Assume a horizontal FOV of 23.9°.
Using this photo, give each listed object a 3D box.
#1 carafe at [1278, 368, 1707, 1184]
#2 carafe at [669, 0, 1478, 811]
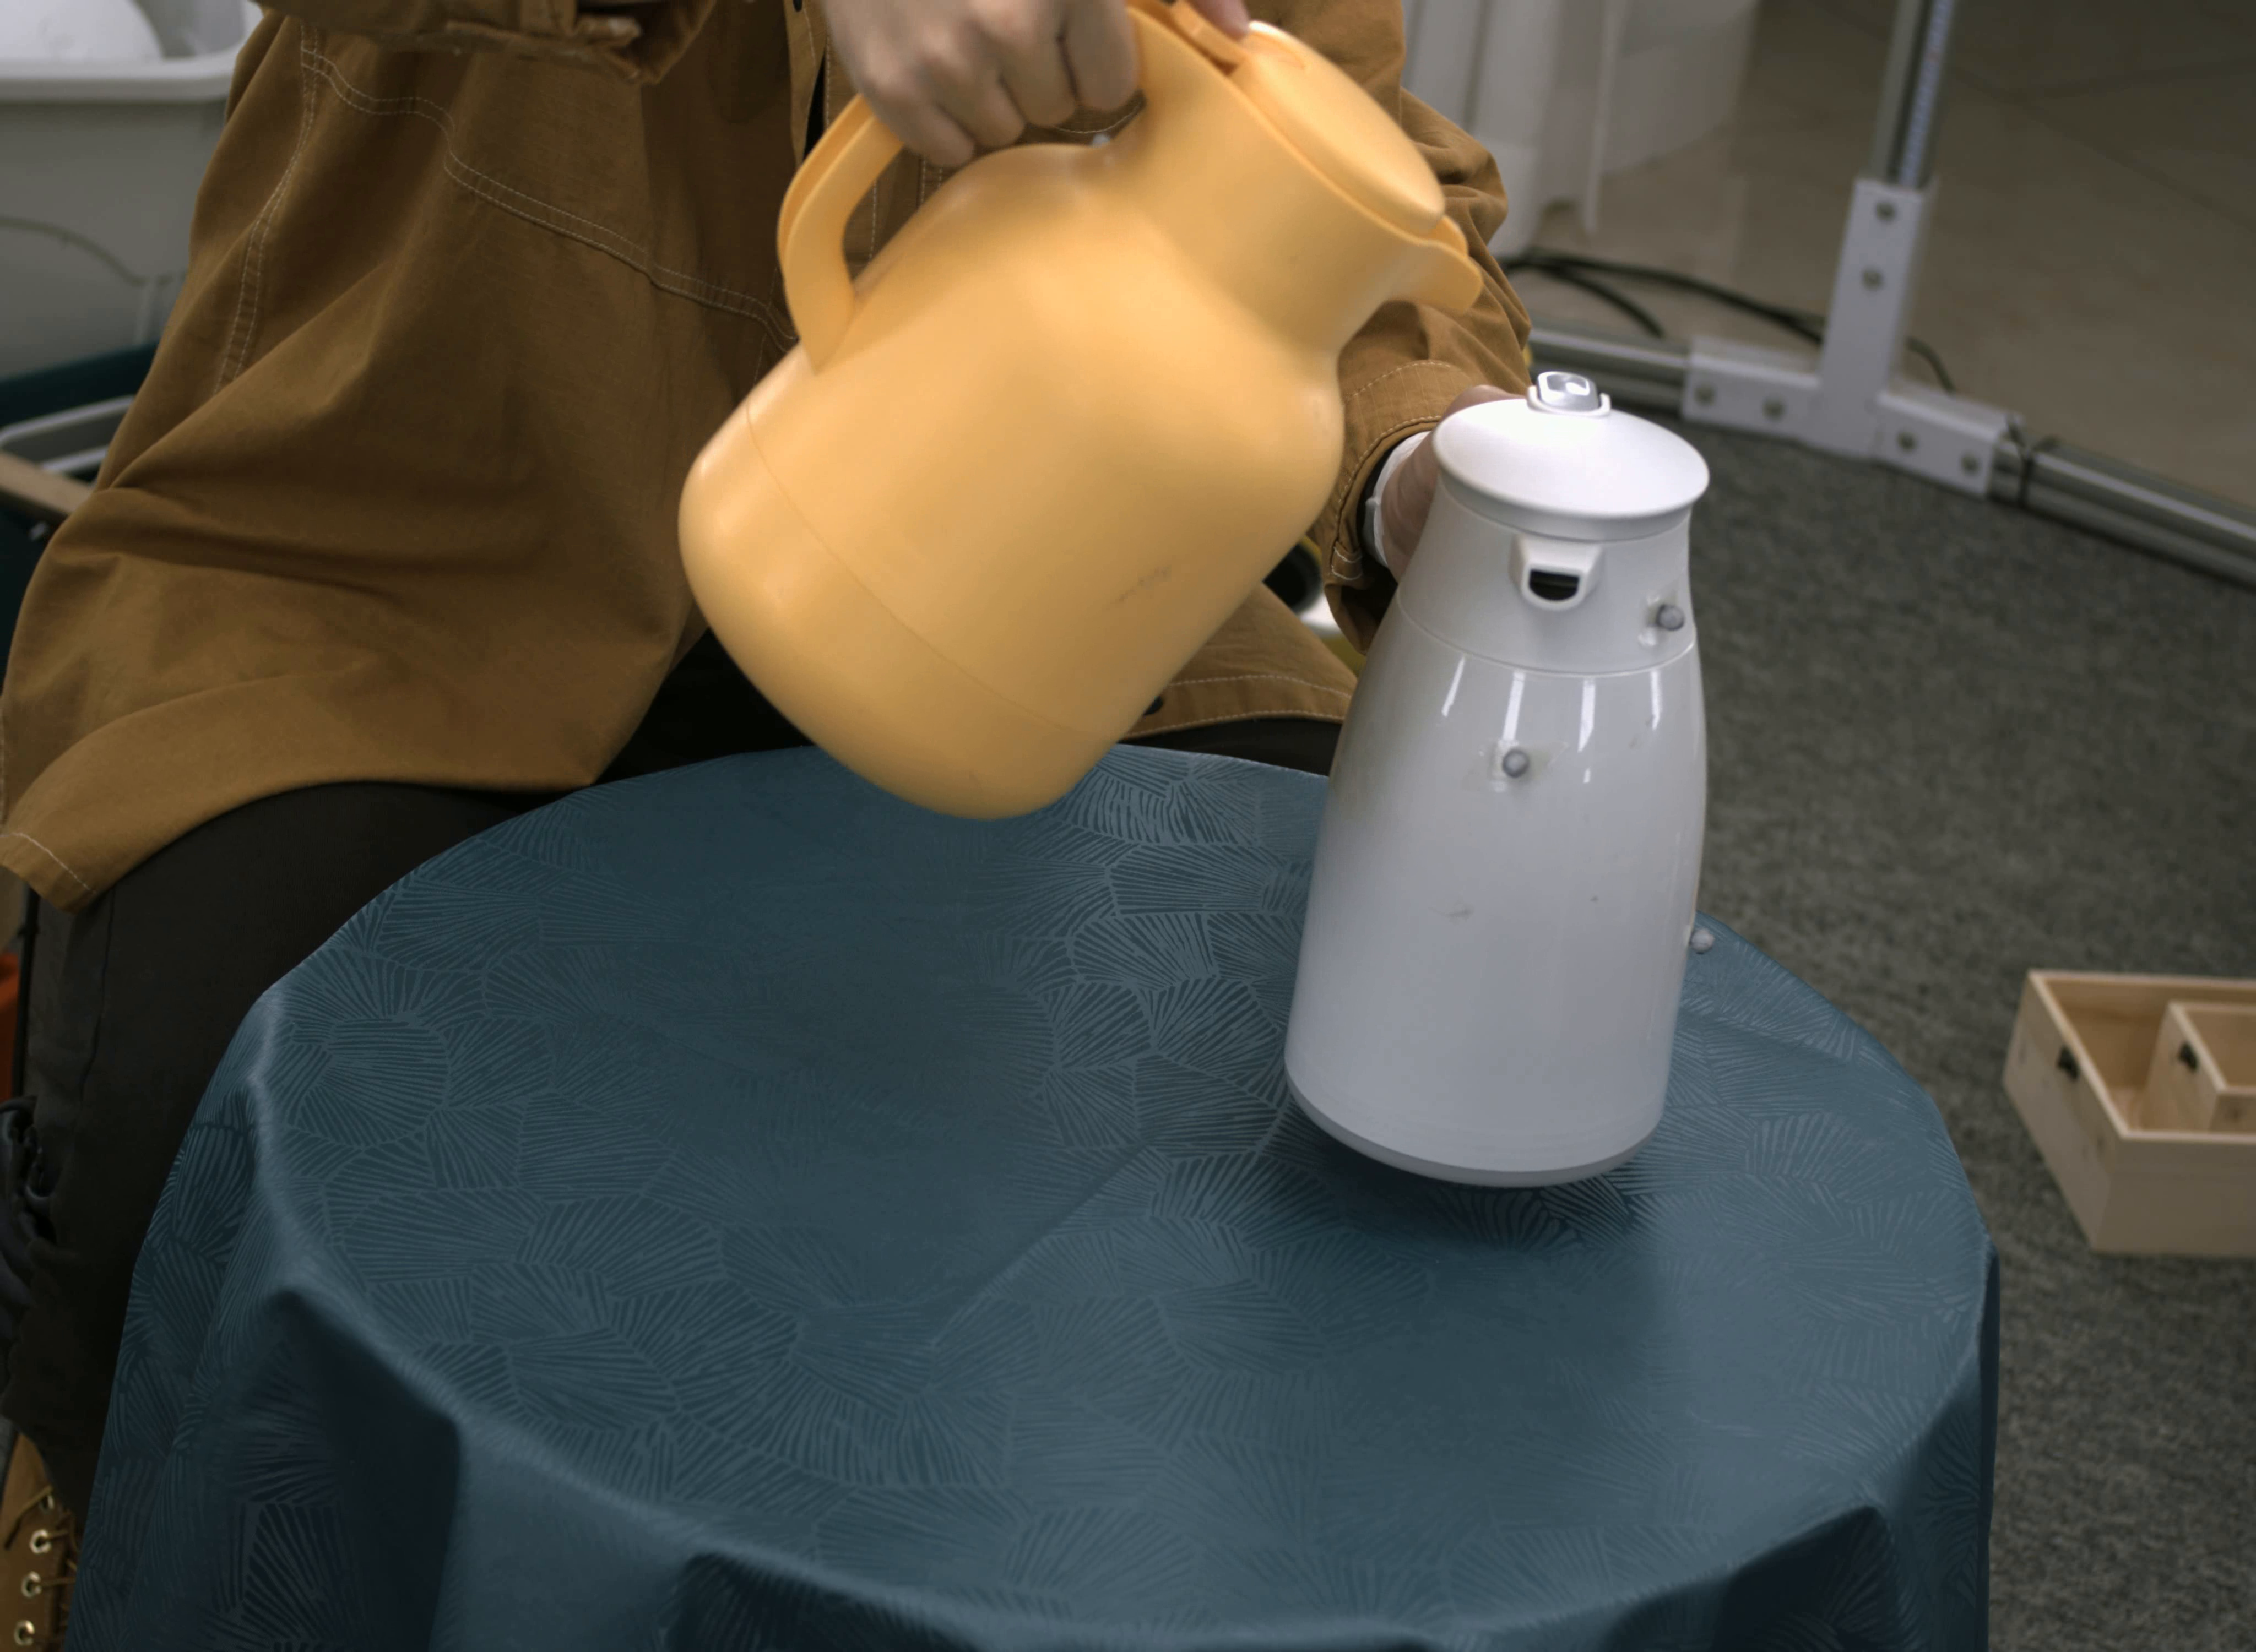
[{"bbox_3d":[0.131,-0.028,1.803,0.132,0.248,0.168,8,26,3],"label":"carafe"},{"bbox_3d":[-0.030,-0.148,1.692,0.201,0.260,0.164,37,19,-23],"label":"carafe"}]
